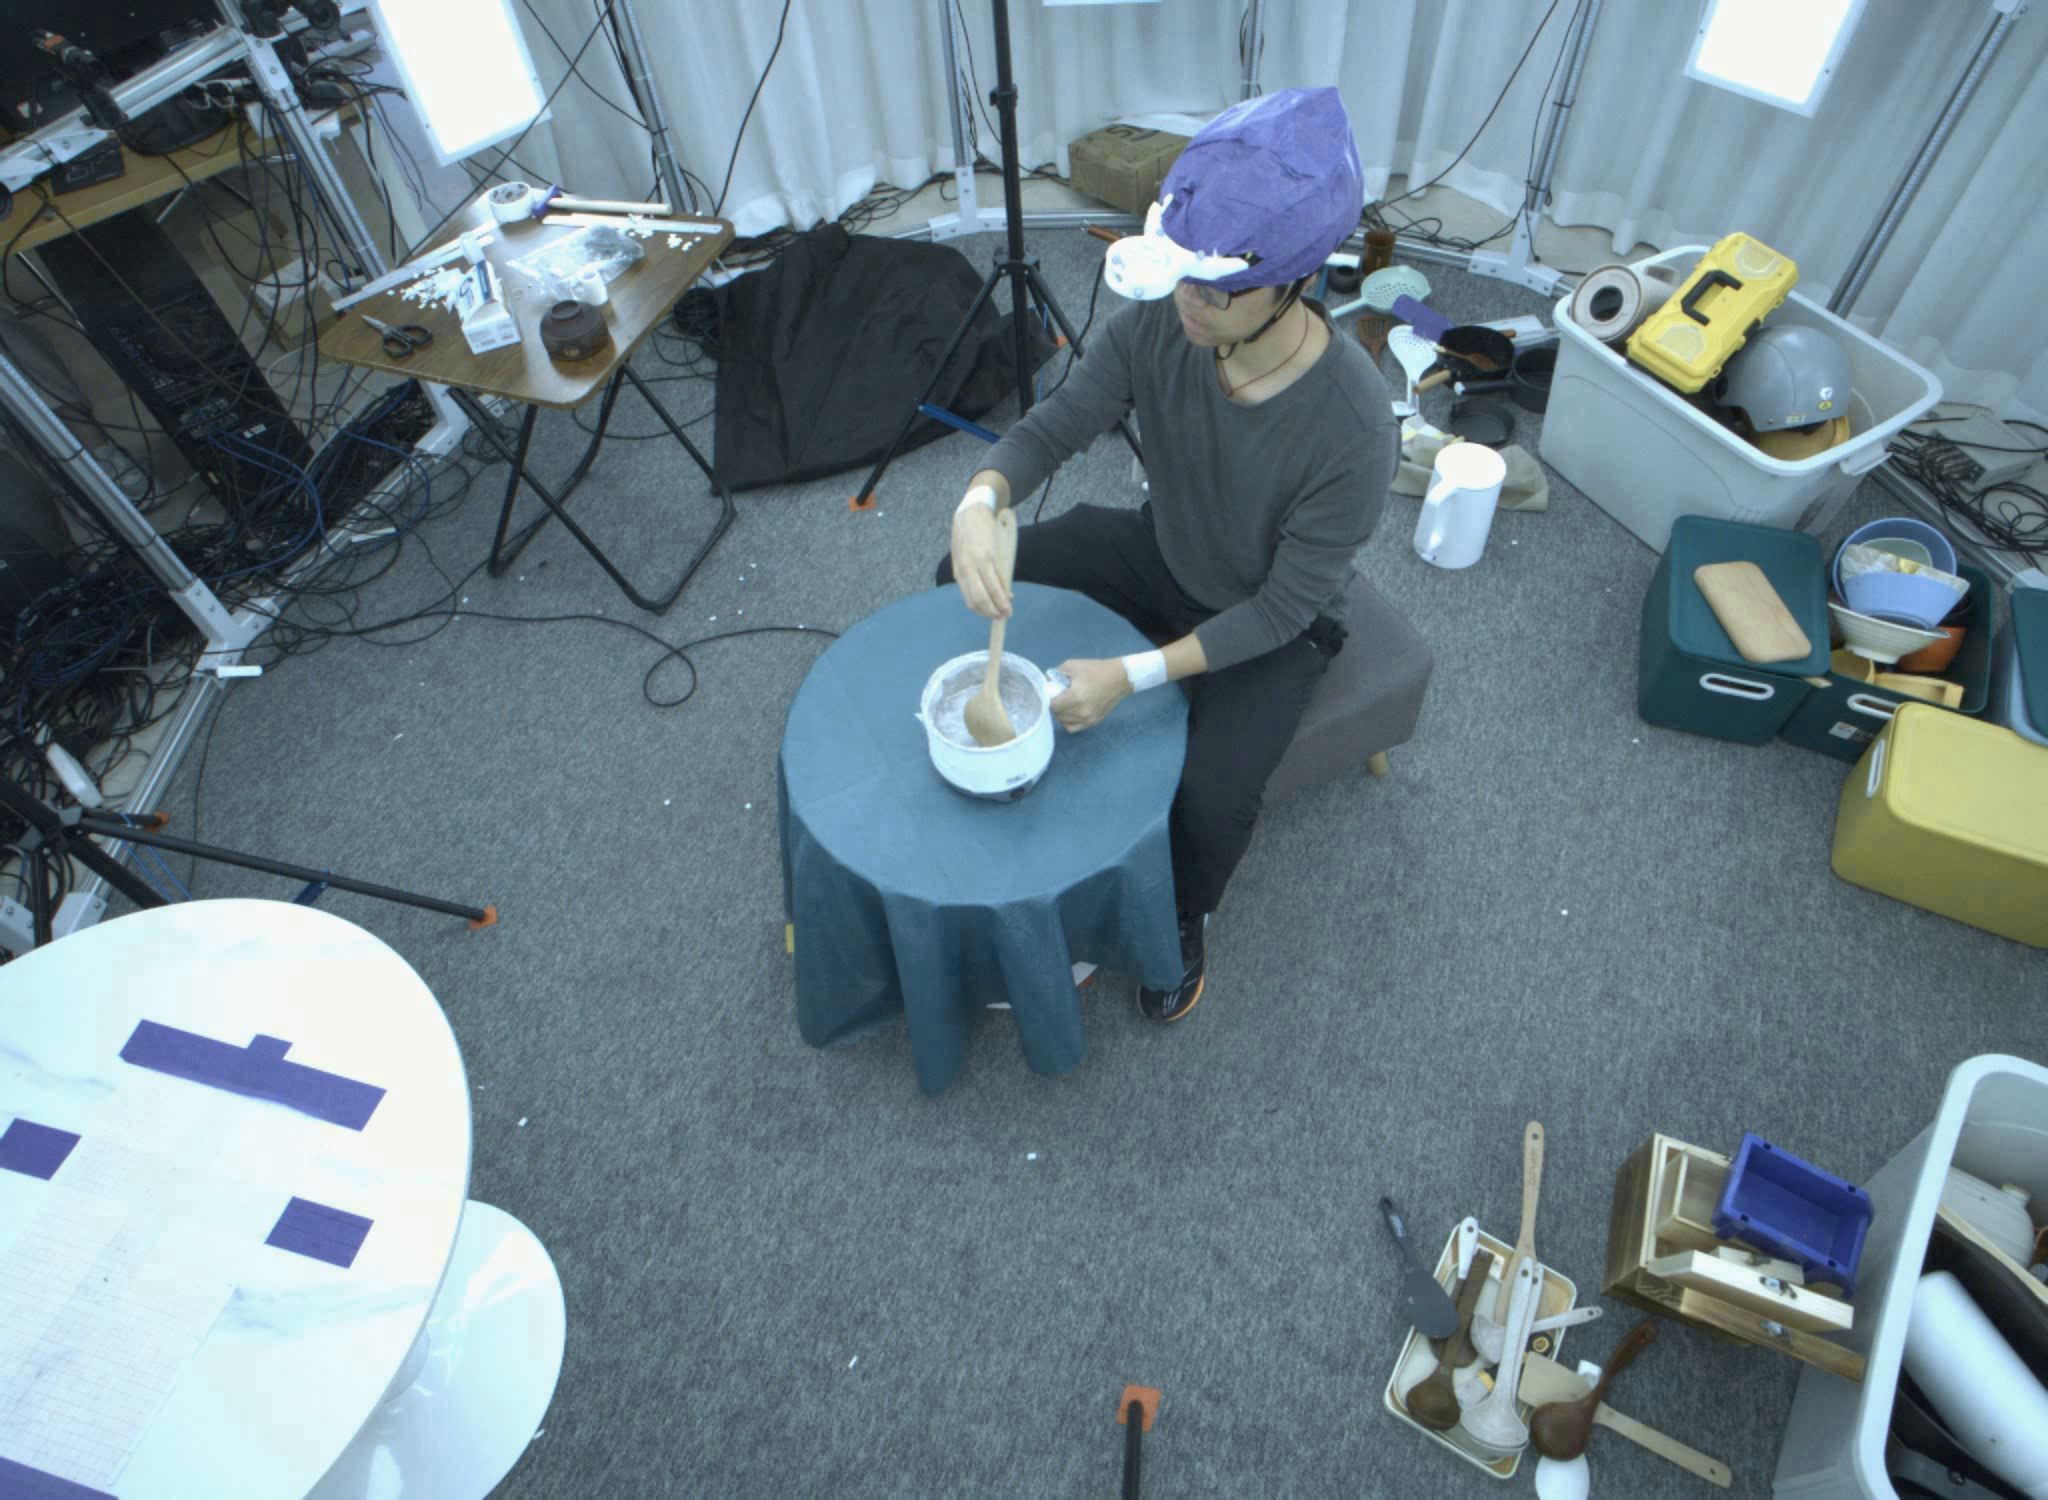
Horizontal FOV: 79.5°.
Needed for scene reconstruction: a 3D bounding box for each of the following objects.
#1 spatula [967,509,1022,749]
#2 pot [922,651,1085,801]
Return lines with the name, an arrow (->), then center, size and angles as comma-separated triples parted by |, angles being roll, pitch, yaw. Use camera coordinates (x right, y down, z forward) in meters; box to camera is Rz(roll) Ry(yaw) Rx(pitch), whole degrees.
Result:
spatula -> -0.027, -0.140, 1.600 | 0.094, 0.393, 0.018 | 29, 45, 24
pot -> -0.024, -0.043, 1.742 | 0.235, 0.138, 0.175 | -23, 57, -14
